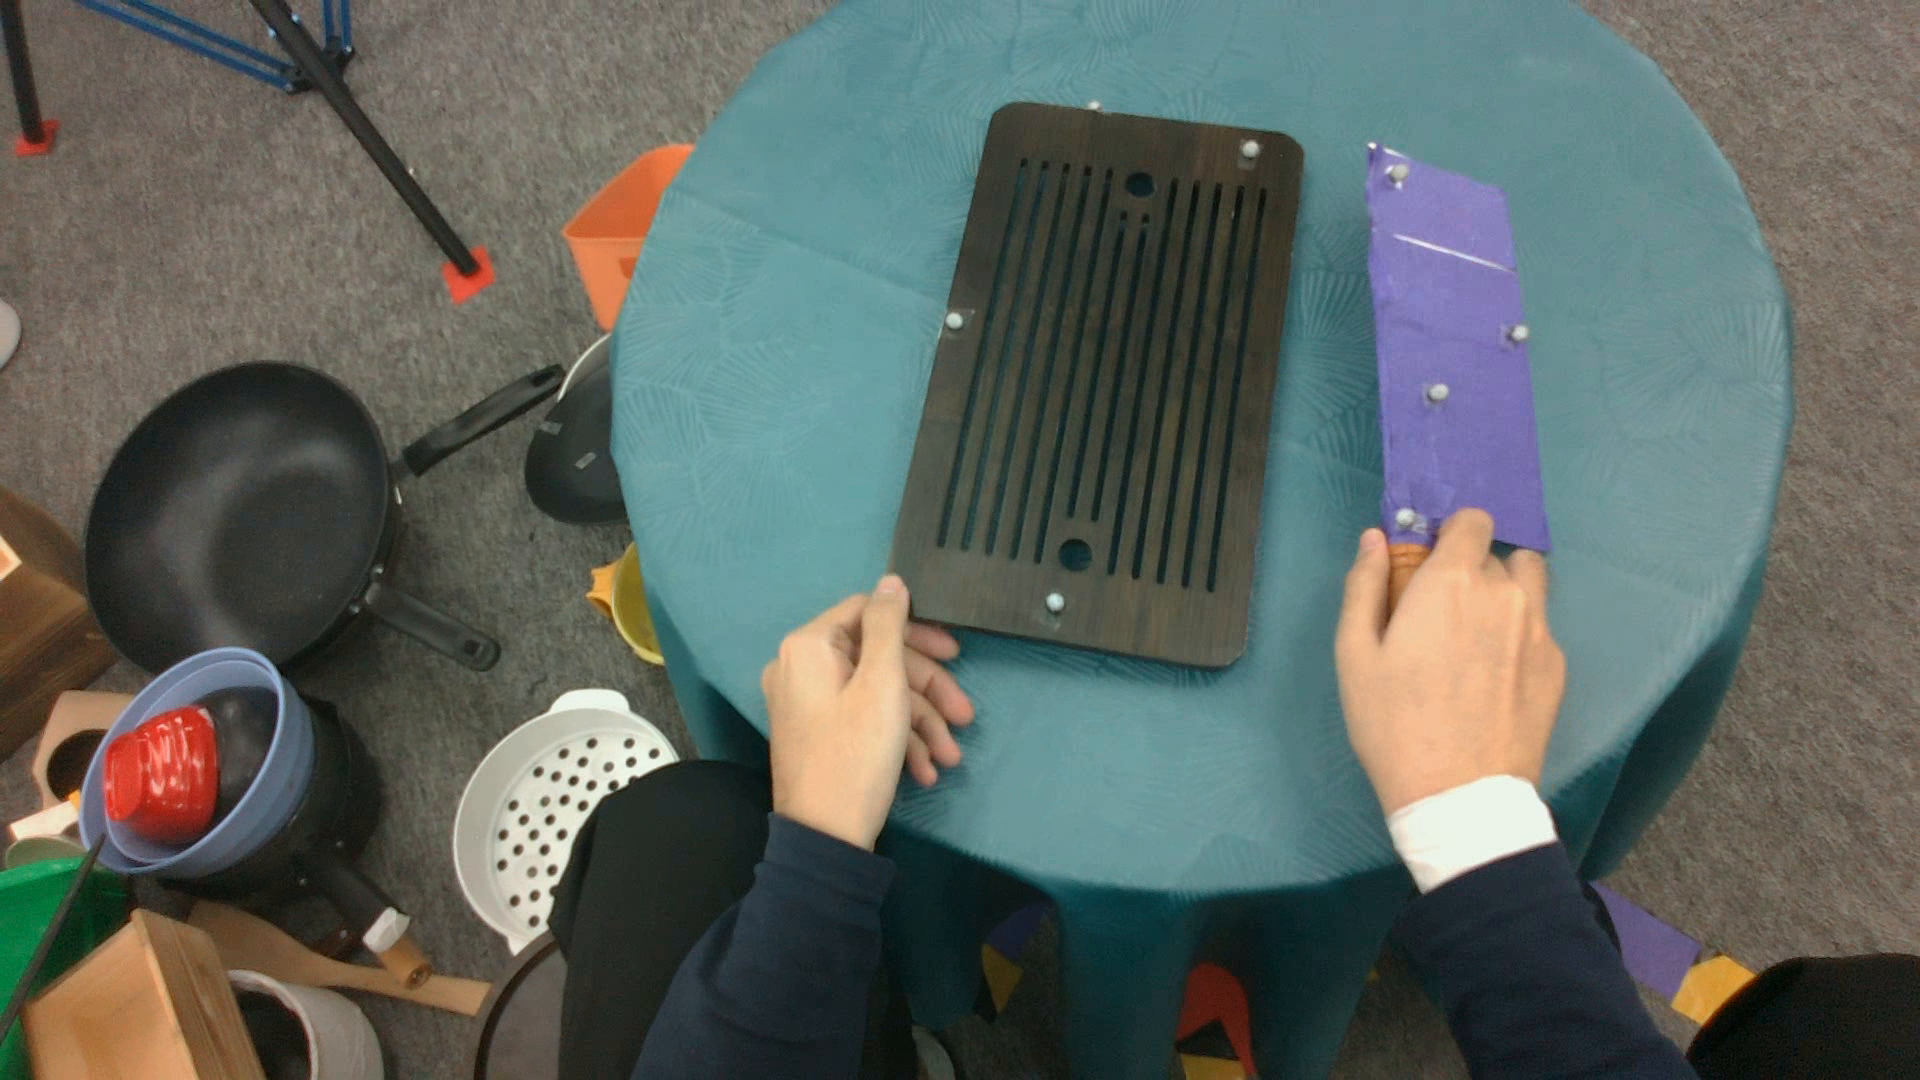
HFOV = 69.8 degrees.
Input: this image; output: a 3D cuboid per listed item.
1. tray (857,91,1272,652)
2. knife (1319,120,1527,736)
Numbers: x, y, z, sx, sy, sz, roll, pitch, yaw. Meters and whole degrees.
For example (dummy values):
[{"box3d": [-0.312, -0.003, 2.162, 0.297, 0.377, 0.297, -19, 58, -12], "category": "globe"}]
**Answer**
[{"box3d": [0.060, -0.096, 0.694, 0.170, 0.018, 0.307, 9, 66, 5], "category": "tray"}, {"box3d": [0.224, -0.061, 0.646, 0.104, 0.032, 0.316, 10, 67, -18], "category": "knife"}]
